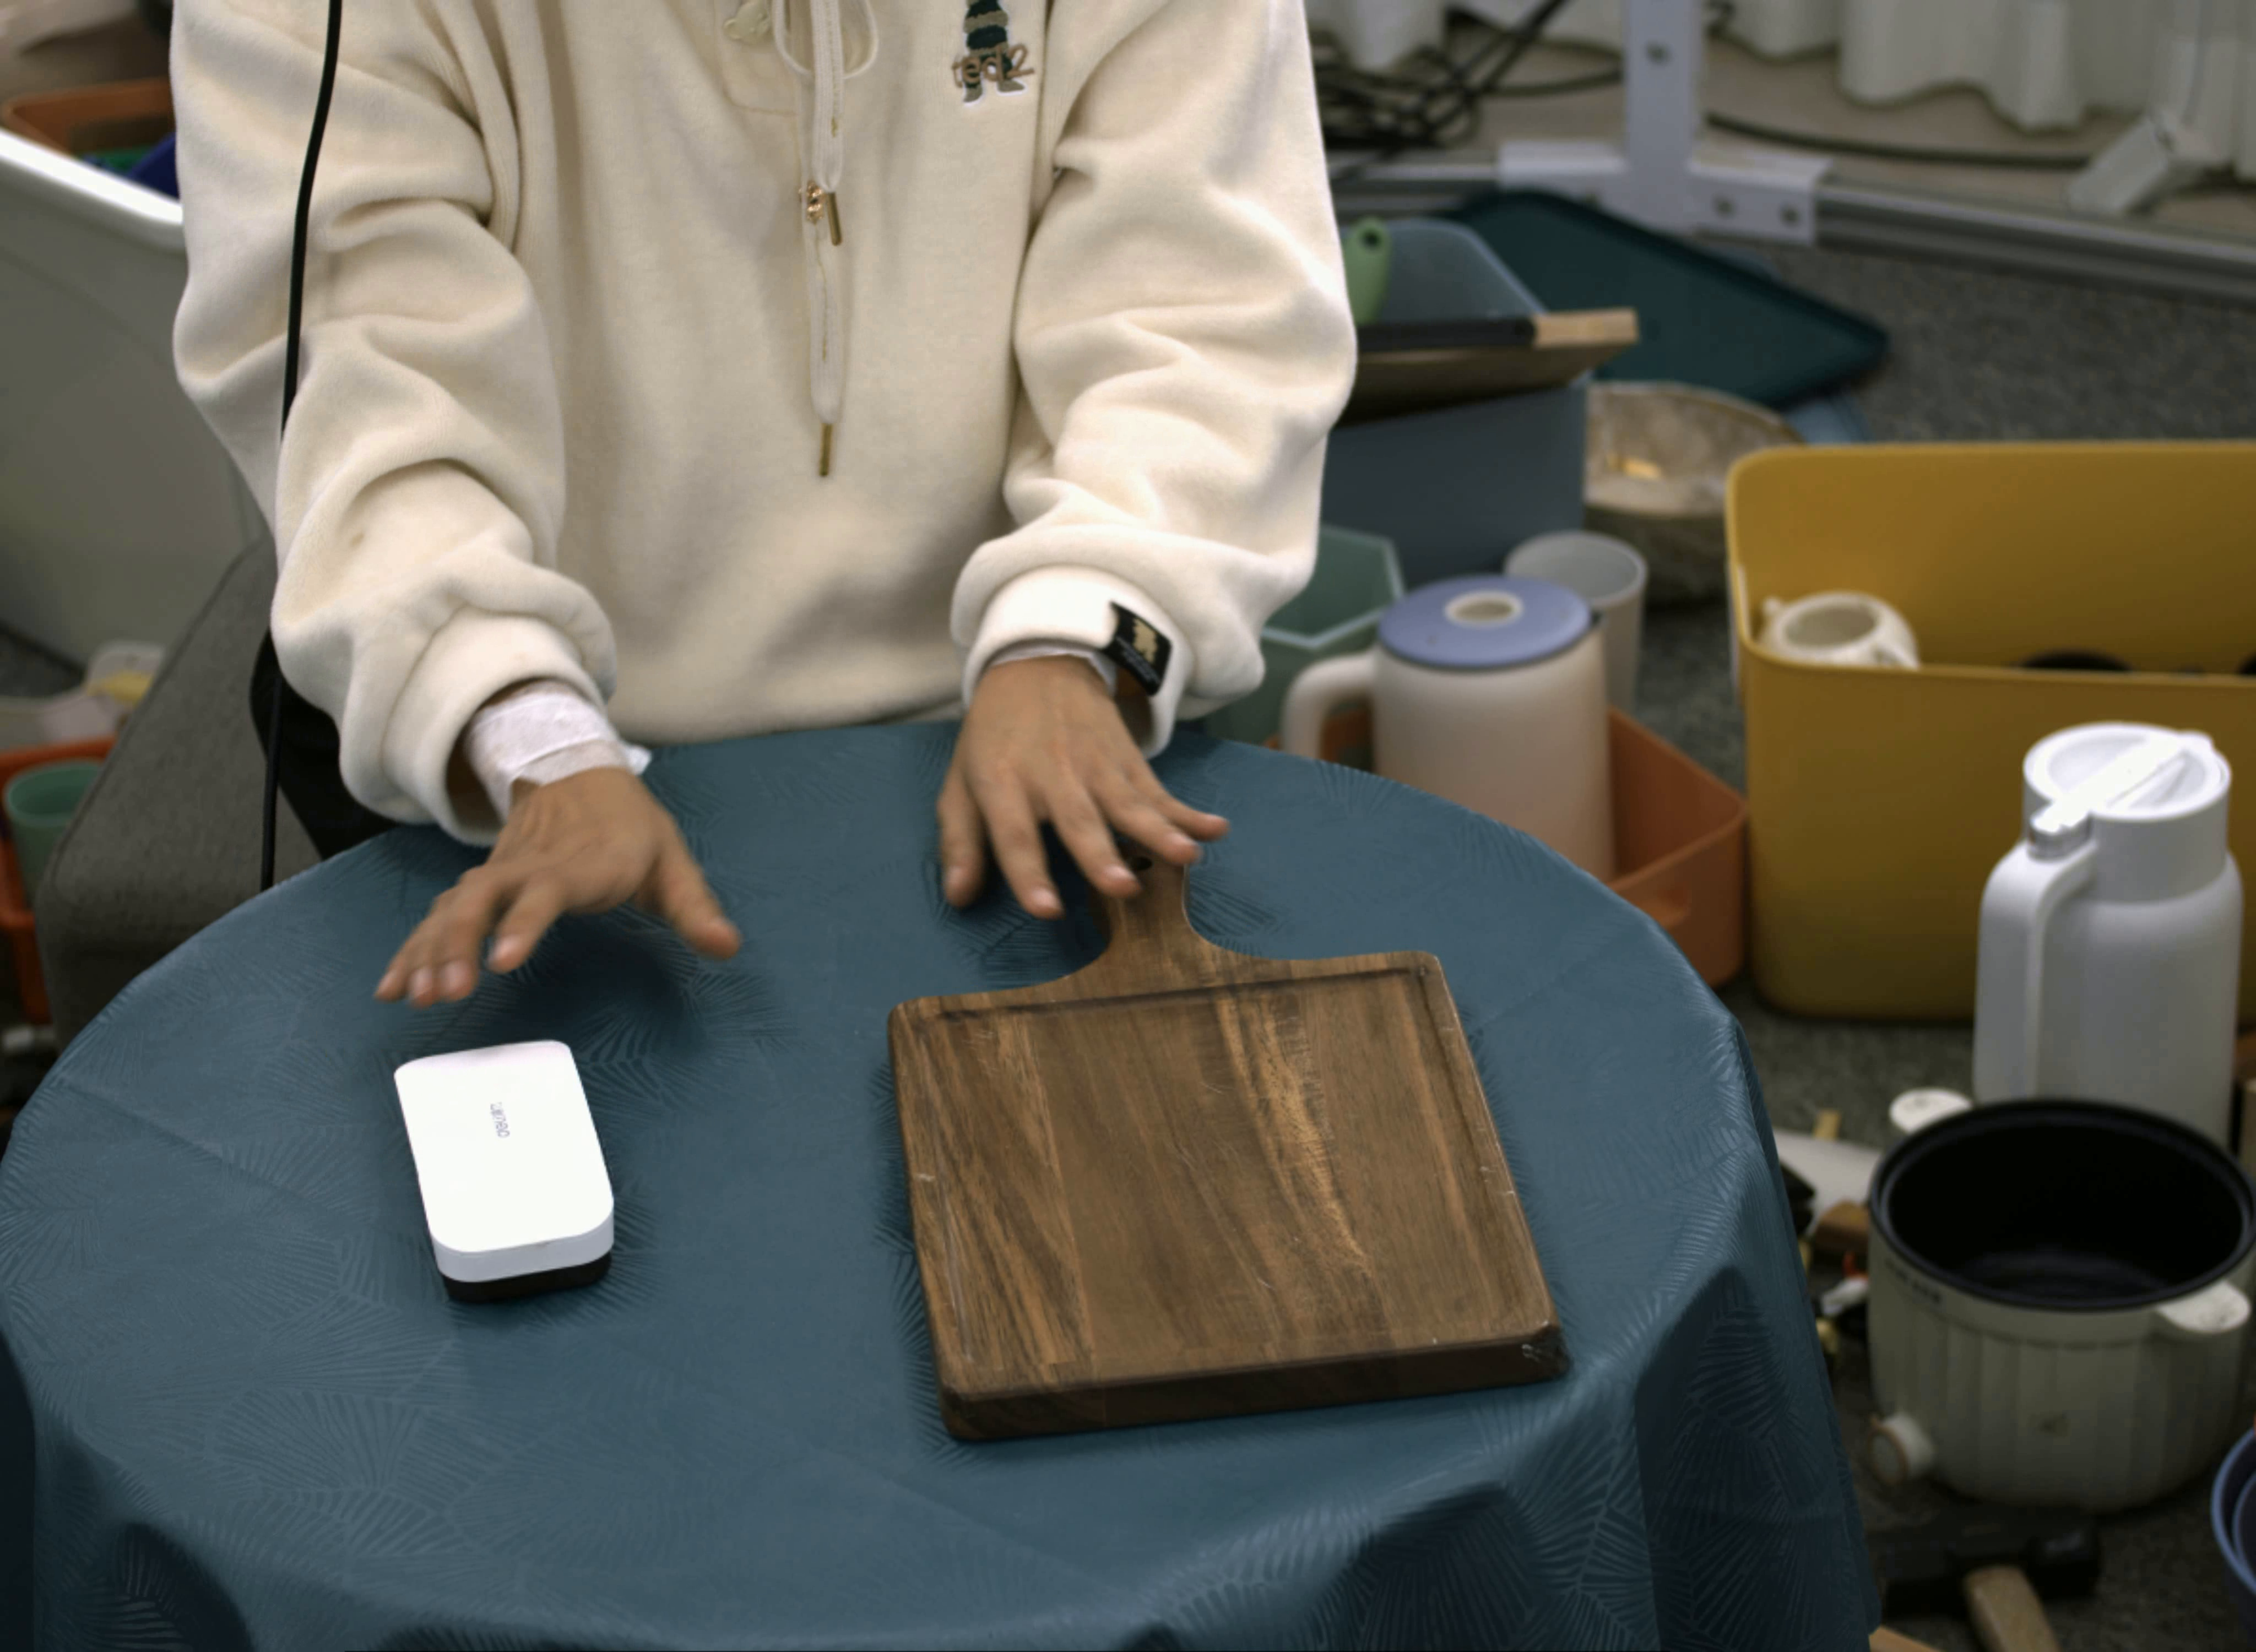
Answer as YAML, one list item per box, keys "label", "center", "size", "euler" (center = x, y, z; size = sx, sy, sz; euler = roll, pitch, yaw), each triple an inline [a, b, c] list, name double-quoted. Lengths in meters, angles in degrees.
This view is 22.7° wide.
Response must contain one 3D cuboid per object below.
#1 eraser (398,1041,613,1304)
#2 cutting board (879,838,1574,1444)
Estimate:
- label: "eraser"
  center: [-0.206, 0.112, 1.868]
  size: [0.063, 0.034, 0.133]
  euler: [-9, 28, -9]
- label: "cutting board"
  center: [0.021, 0.094, 1.889]
  size: [0.200, 0.023, 0.357]
  euler: [-5, 28, -5]
